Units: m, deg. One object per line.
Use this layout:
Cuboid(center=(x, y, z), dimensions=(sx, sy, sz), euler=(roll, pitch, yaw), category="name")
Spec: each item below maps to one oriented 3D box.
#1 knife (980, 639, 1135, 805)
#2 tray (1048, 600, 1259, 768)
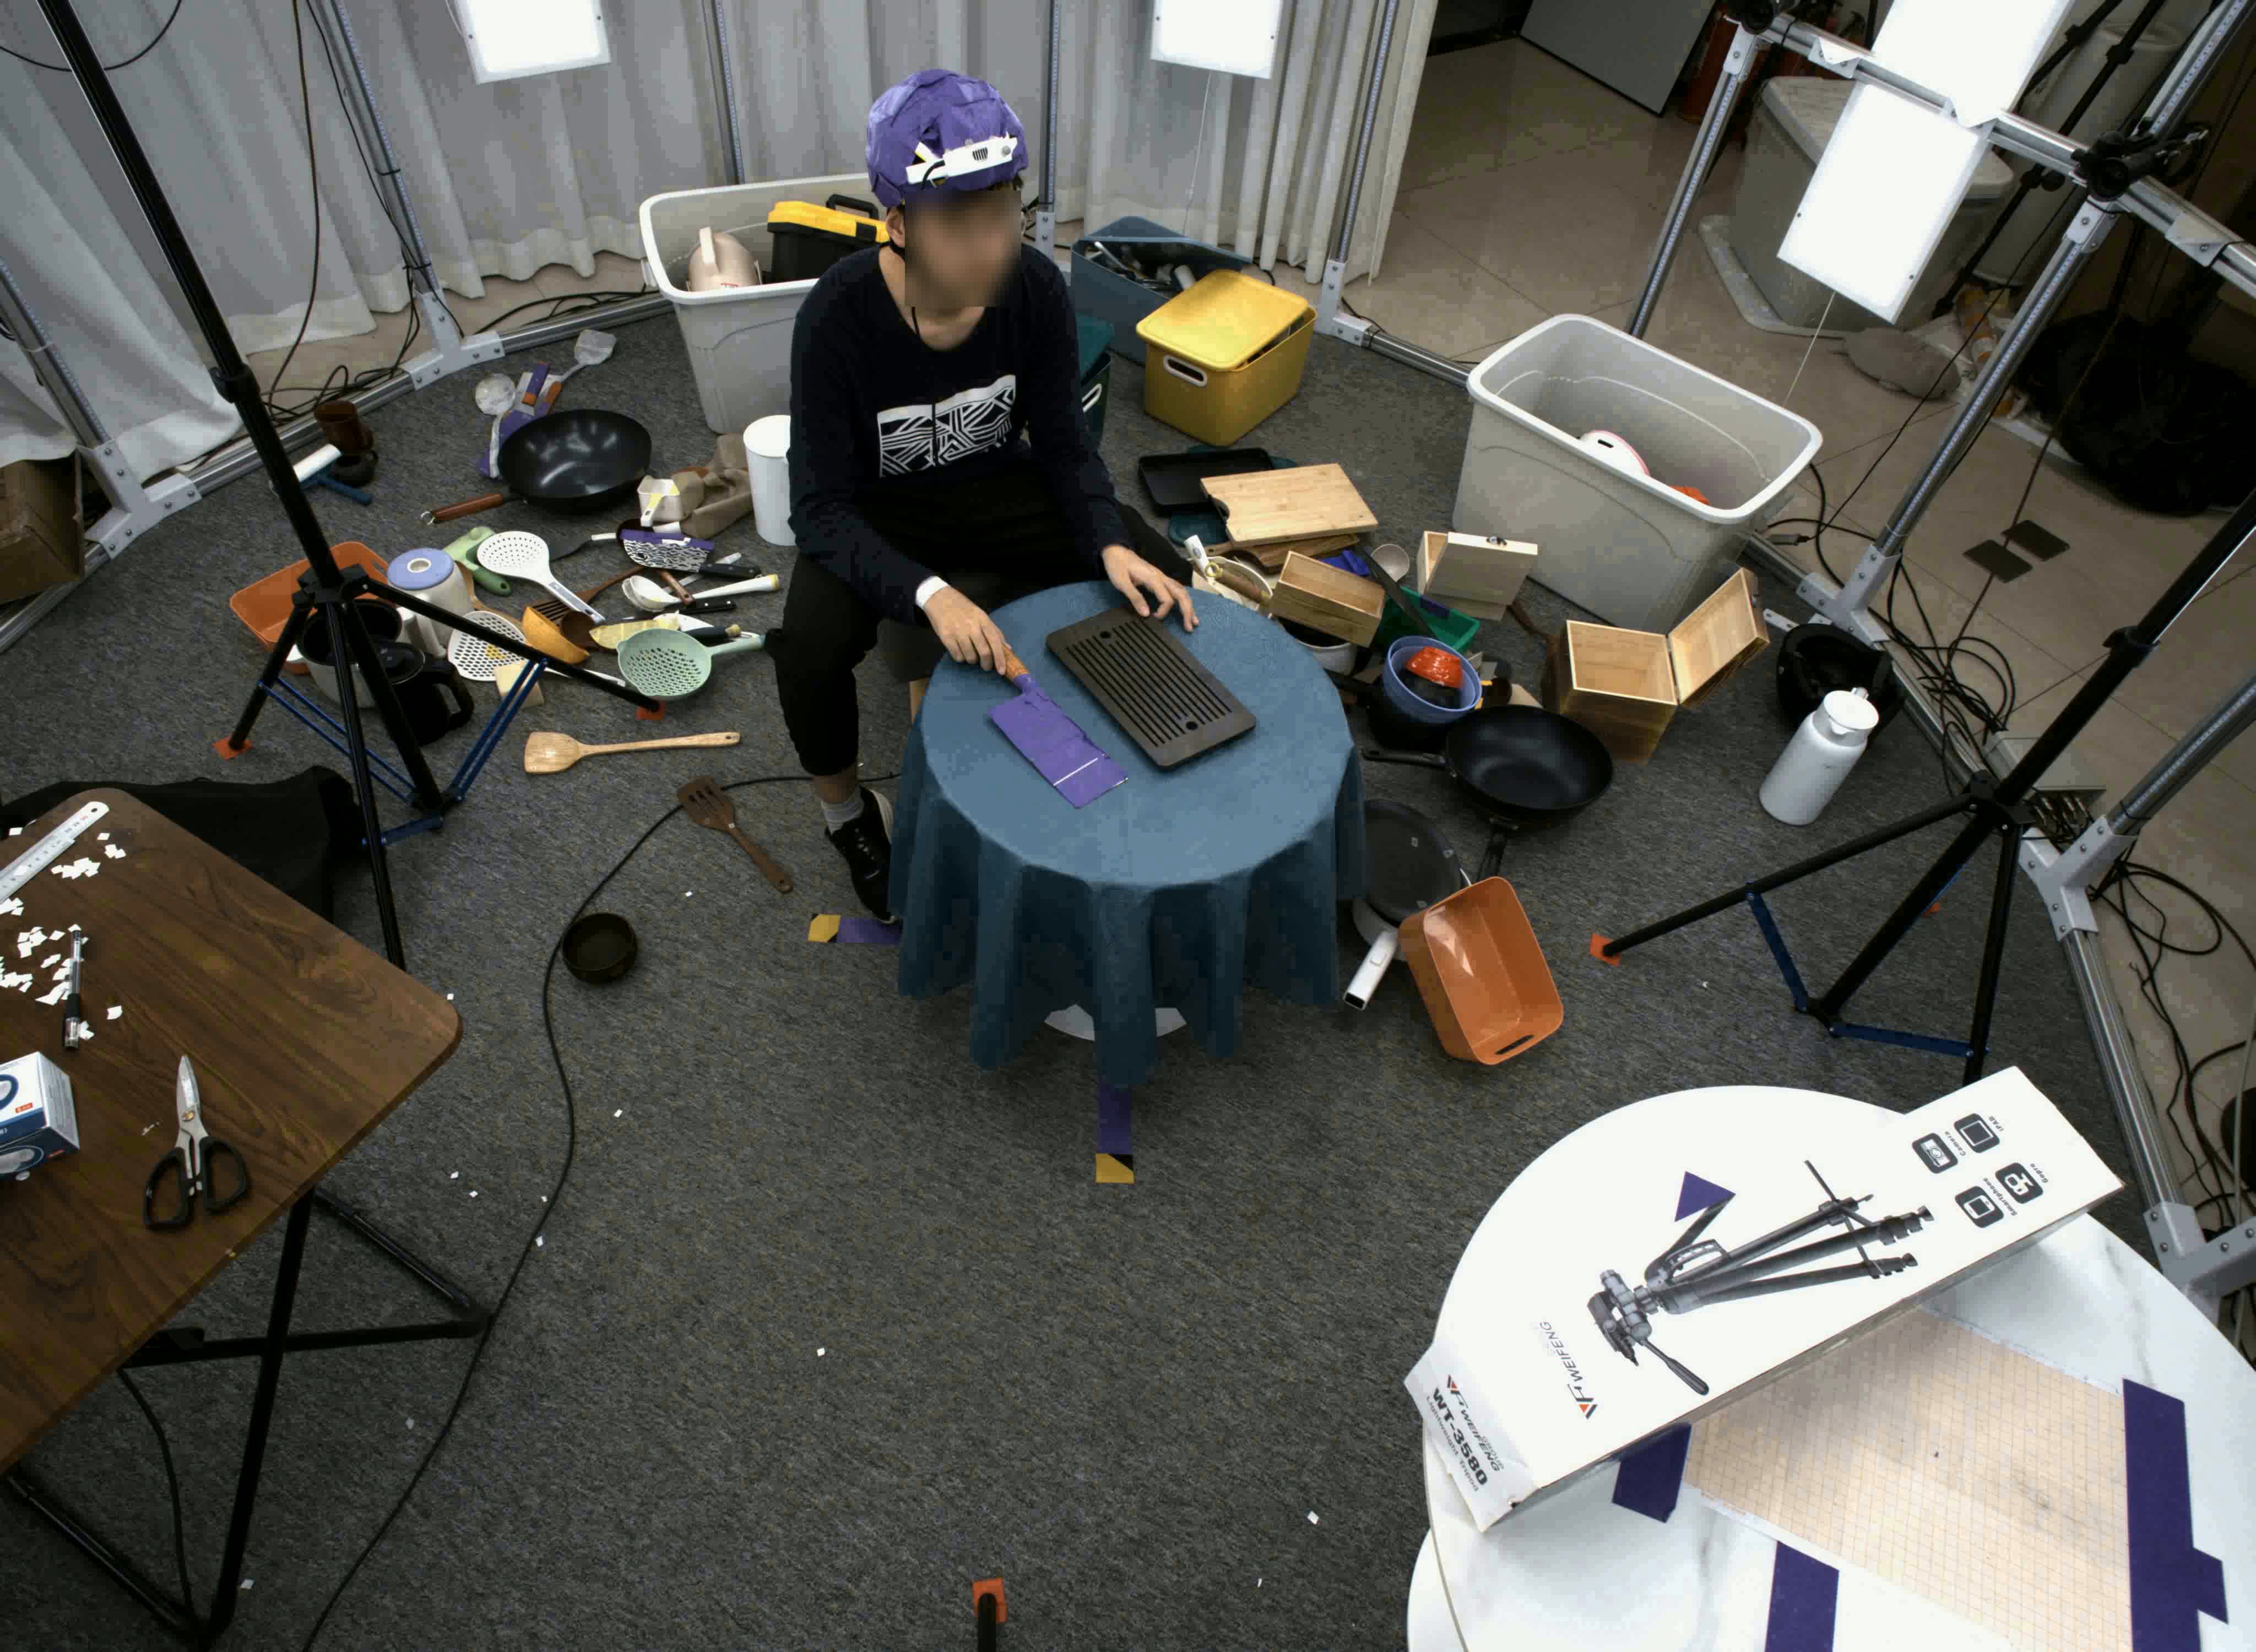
Cuboid(center=(-0.127, -0.147, 1.769), dimensions=(0.104, 0.031, 0.321), euler=(-30, 58, -26), category="knife")
Cuboid(center=(0.032, -0.208, 1.838), dimensions=(0.171, 0.018, 0.312), euler=(-25, 55, -23), category="tray")
